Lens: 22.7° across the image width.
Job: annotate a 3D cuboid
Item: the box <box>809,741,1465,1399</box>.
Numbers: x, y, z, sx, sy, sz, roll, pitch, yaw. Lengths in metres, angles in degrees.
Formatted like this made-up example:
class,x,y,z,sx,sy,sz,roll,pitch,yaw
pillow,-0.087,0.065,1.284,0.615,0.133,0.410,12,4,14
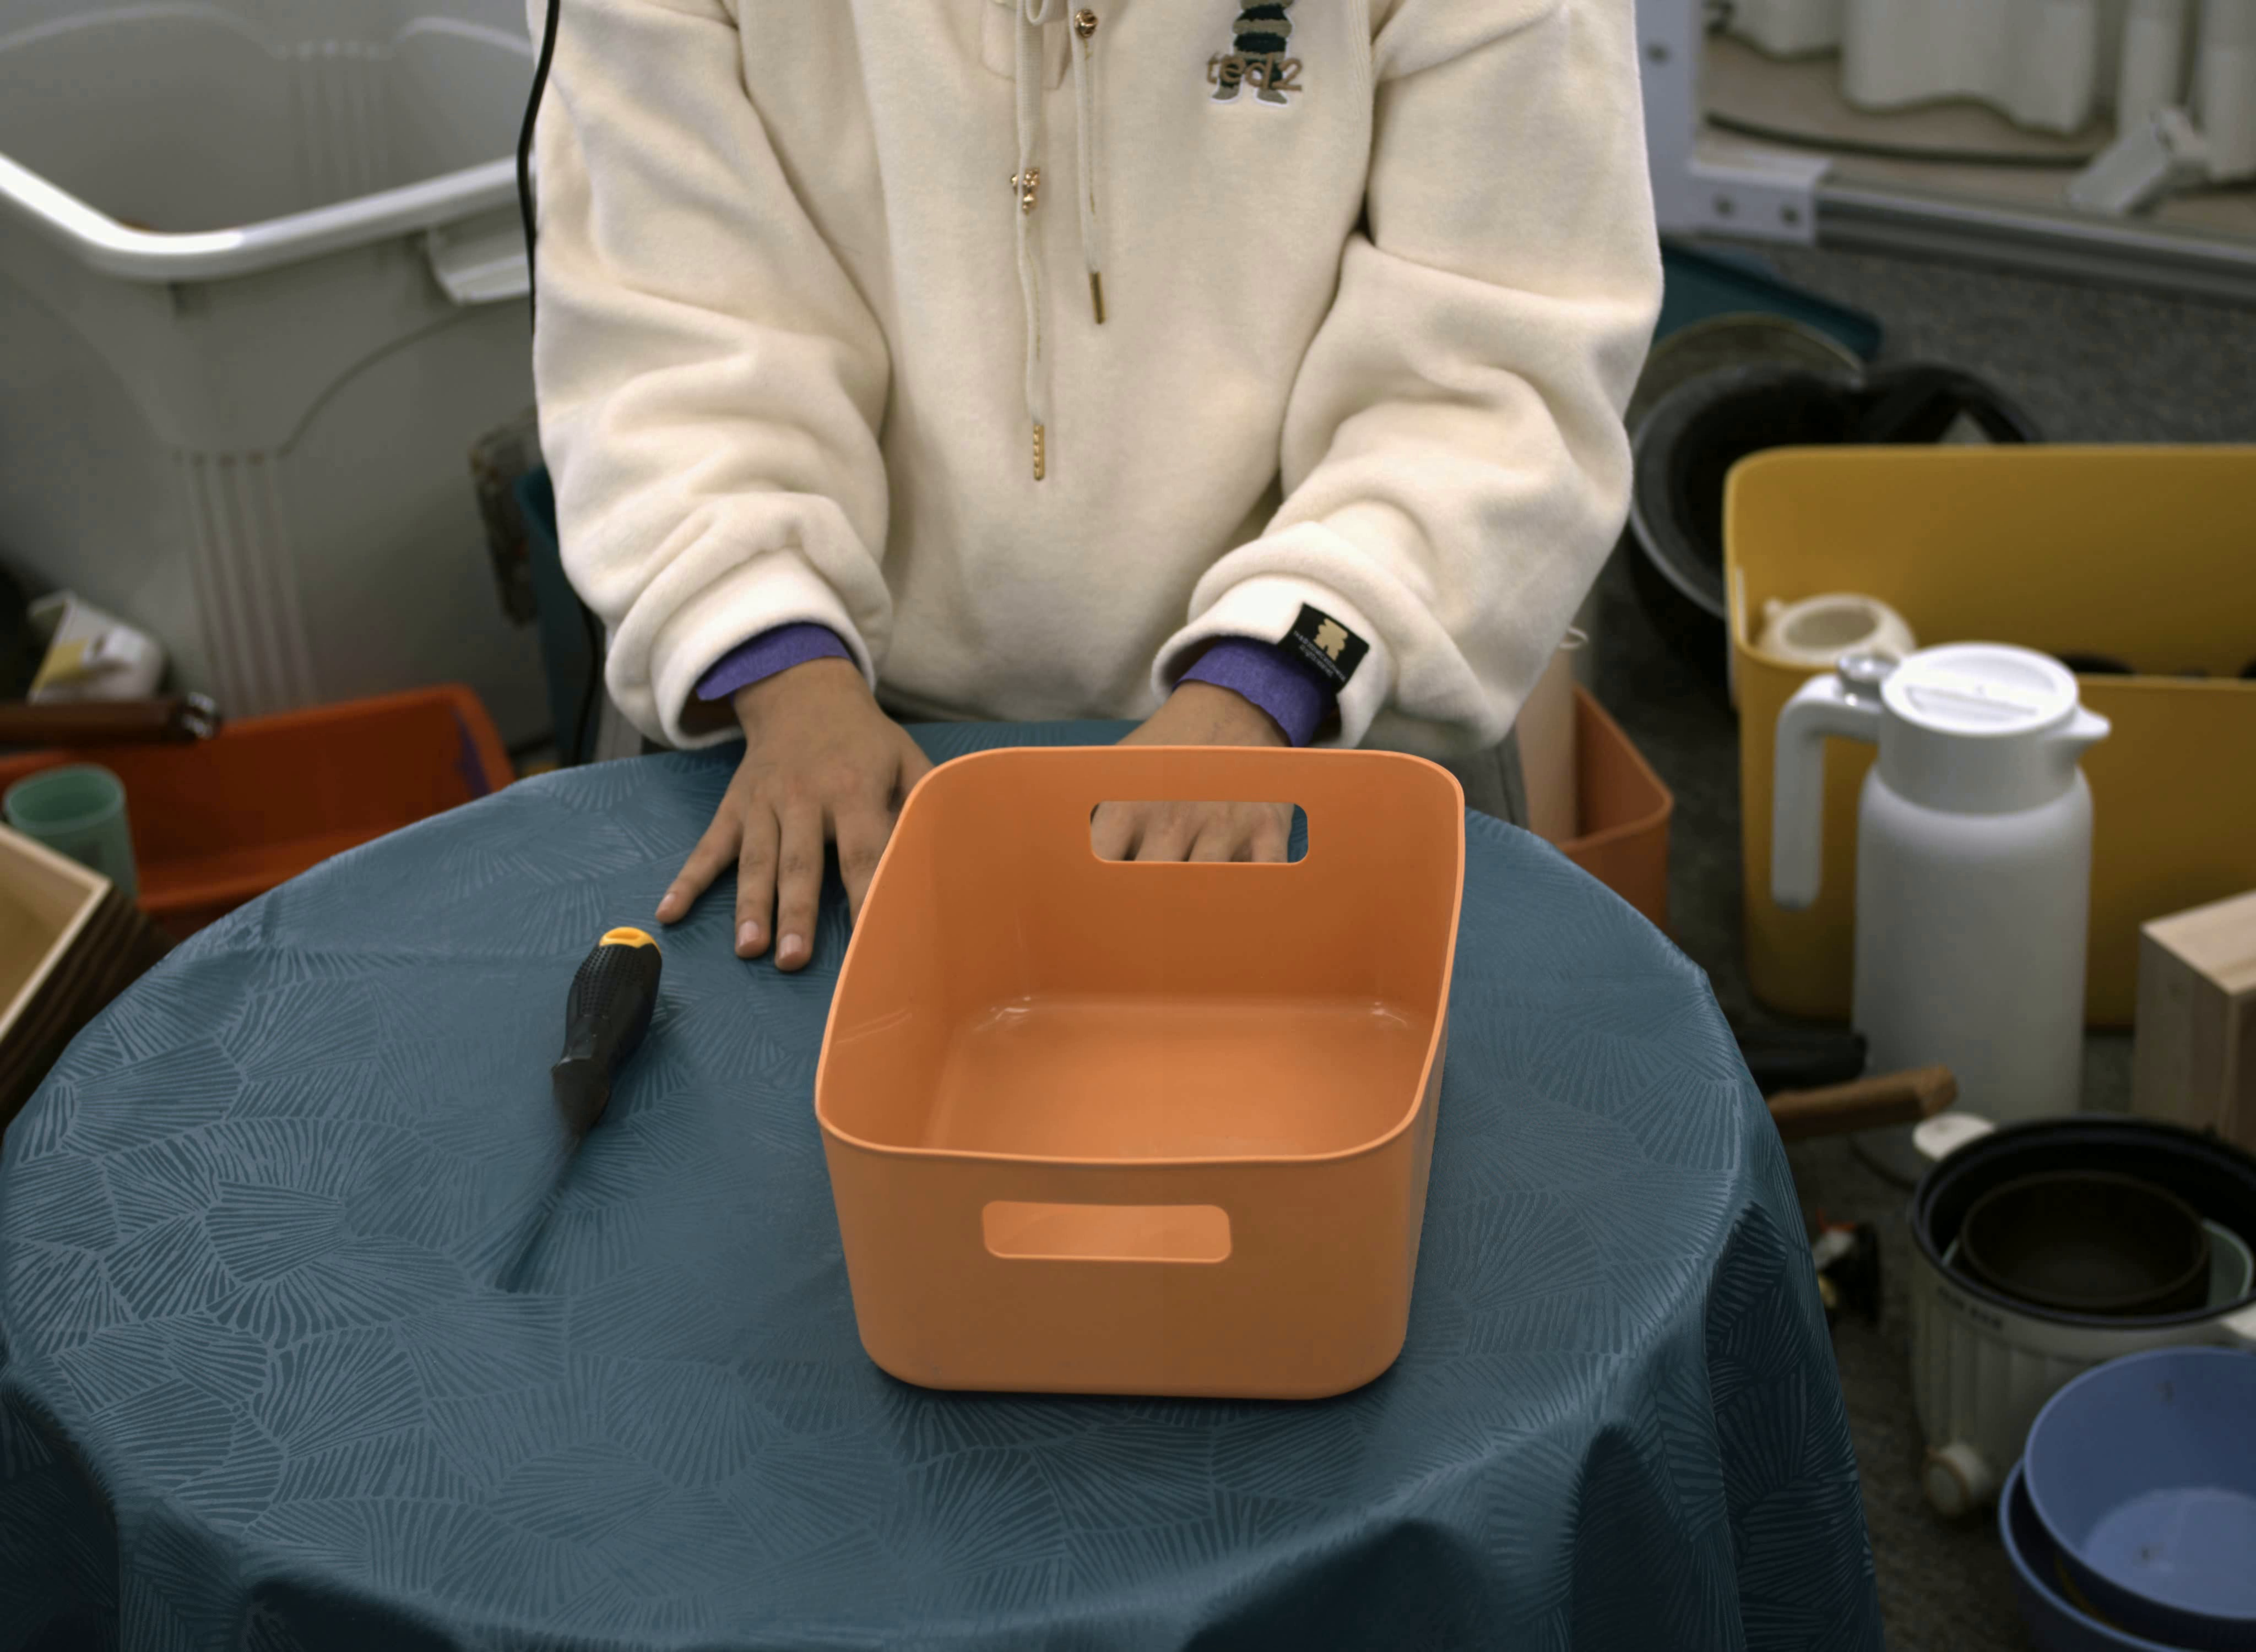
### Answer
class,x,y,z,sx,sy,sz,roll,pitch,yaw
box,0.011,0.079,1.830,0.198,0.101,0.278,0,28,7

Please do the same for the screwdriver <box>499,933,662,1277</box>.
class,x,y,z,sx,sy,sz,roll,pitch,yaw
screwdriver,-0.192,0.096,1.908,0.031,0.031,0.201,3,31,10
